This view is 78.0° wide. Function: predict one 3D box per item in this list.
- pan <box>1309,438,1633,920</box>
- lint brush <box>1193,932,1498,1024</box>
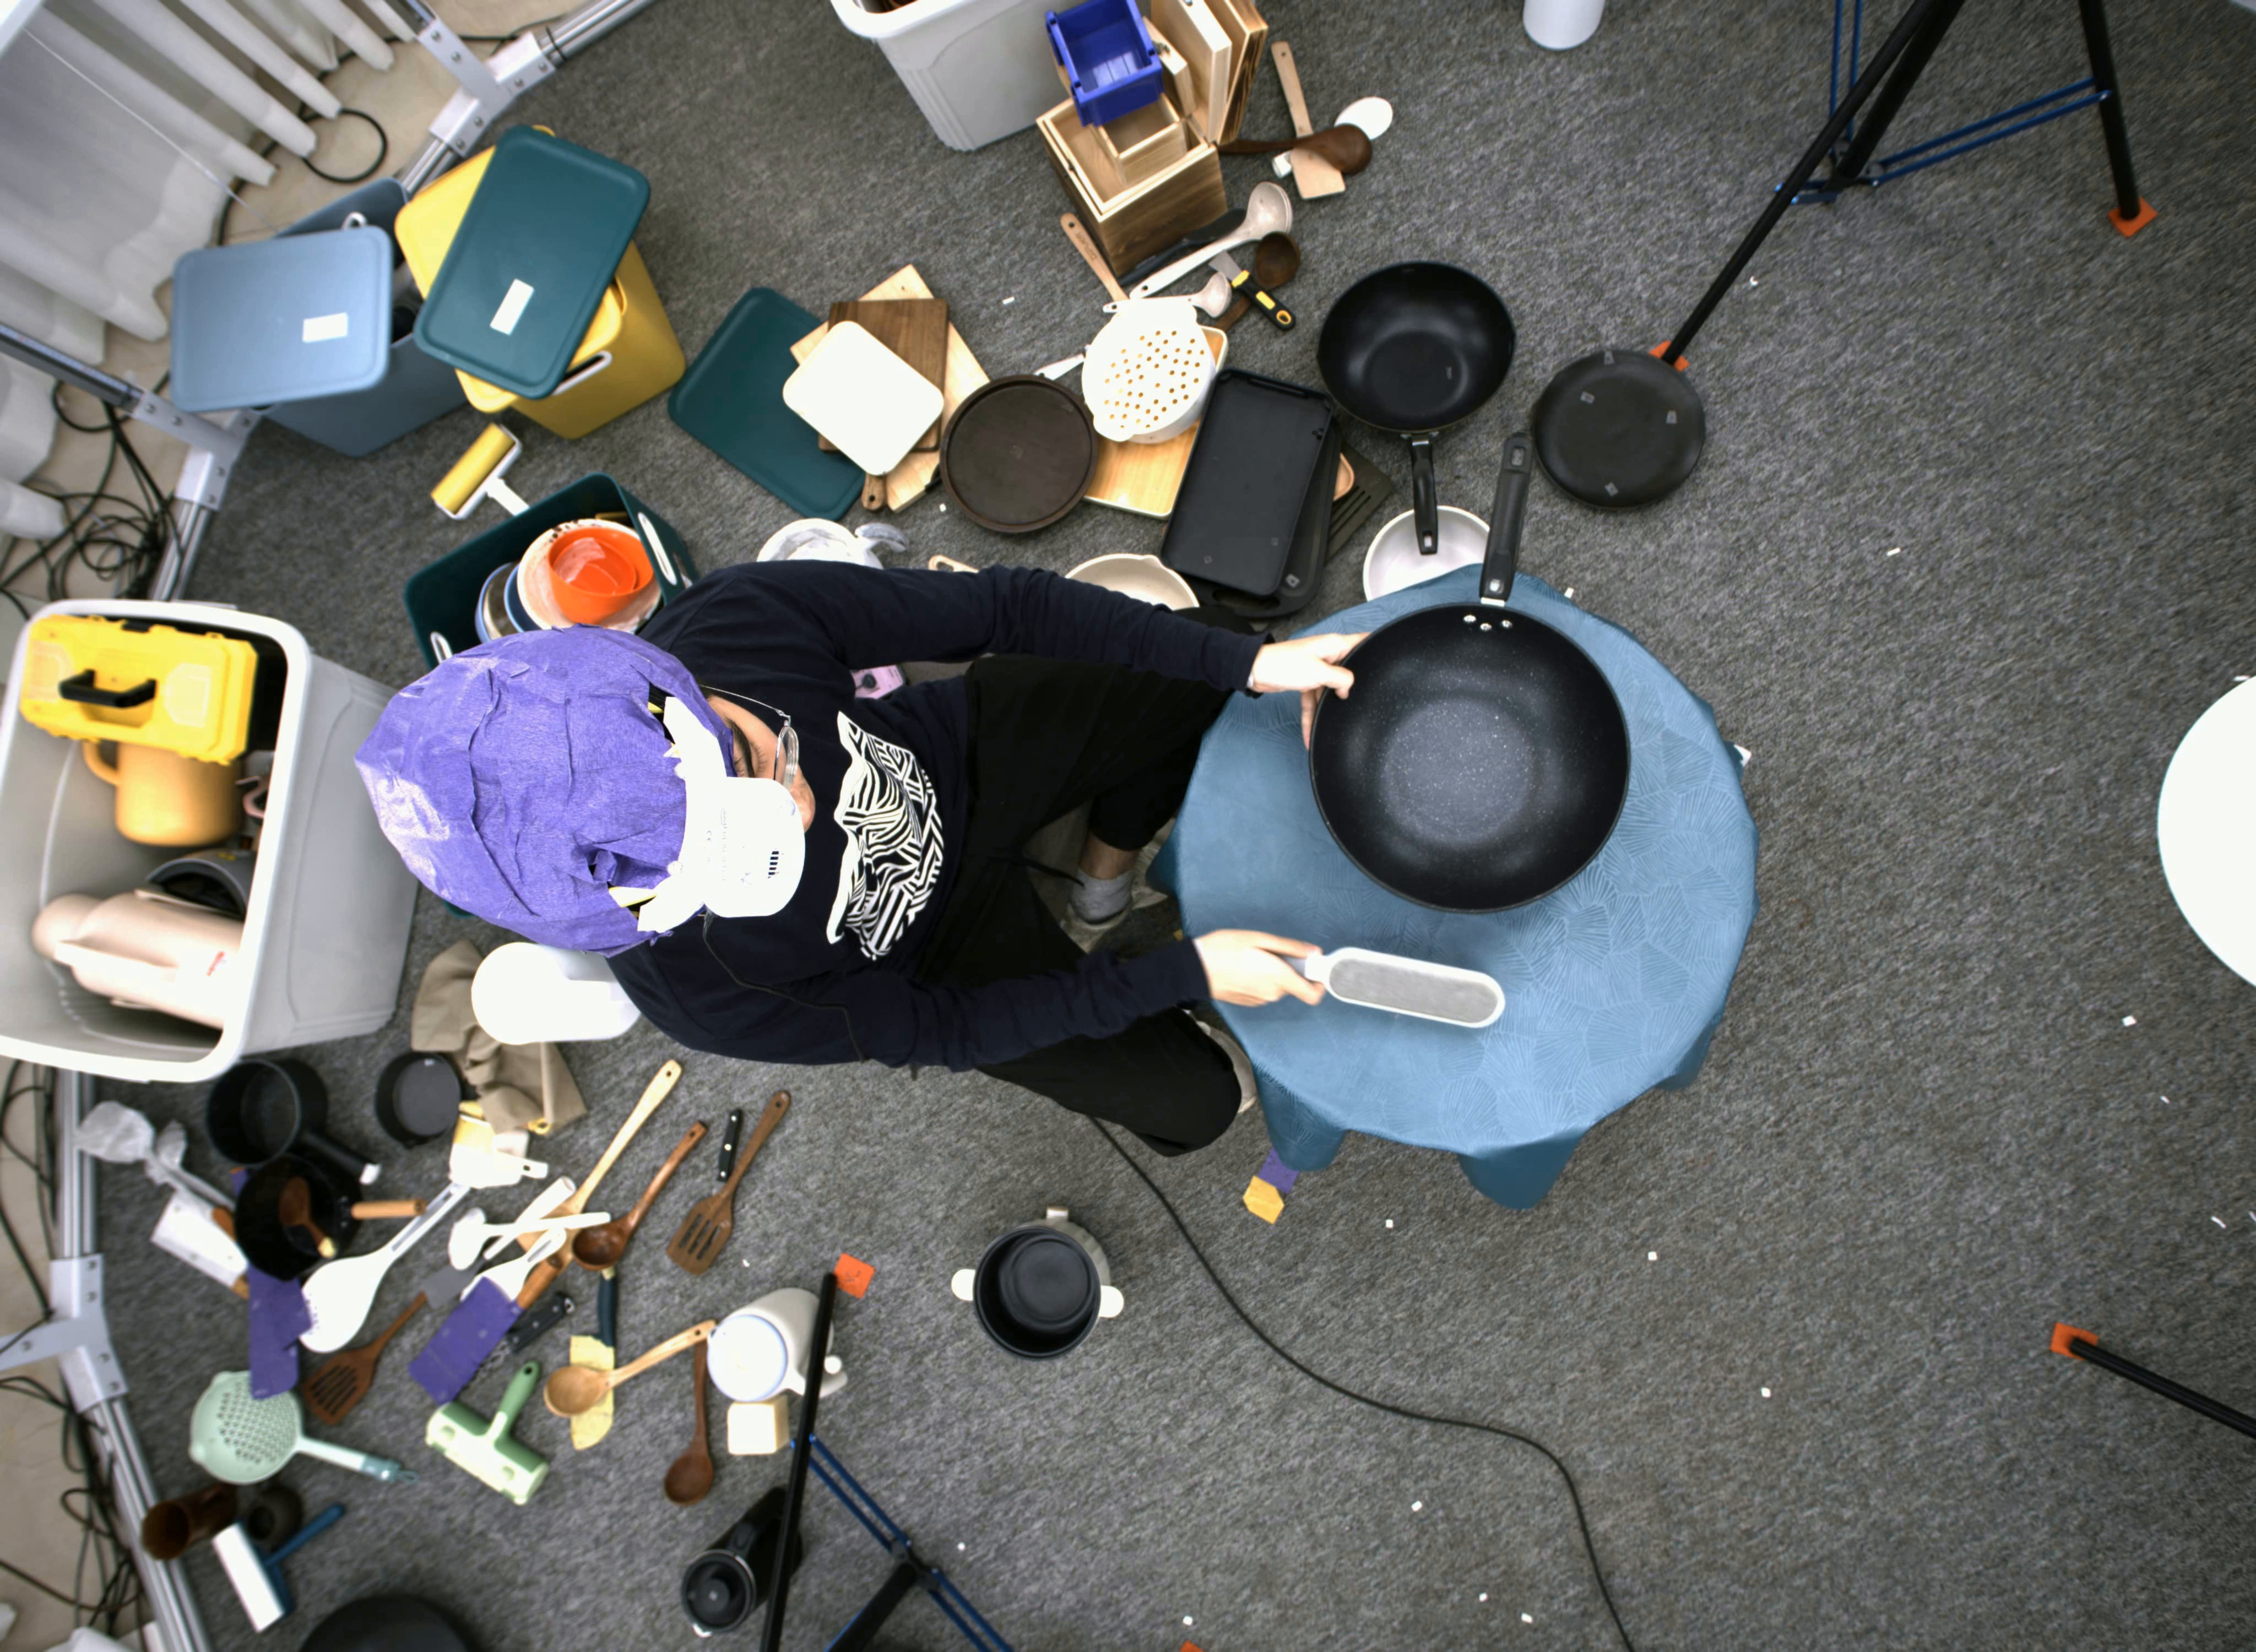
[{"bbox_3d":[0.348,-0.143,1.360,0.311,0.112,0.474,9,85,7],"label":"pan"},{"bbox_3d":[0.218,0.146,1.398,0.309,0.020,0.061,11,120,7],"label":"lint brush"}]
